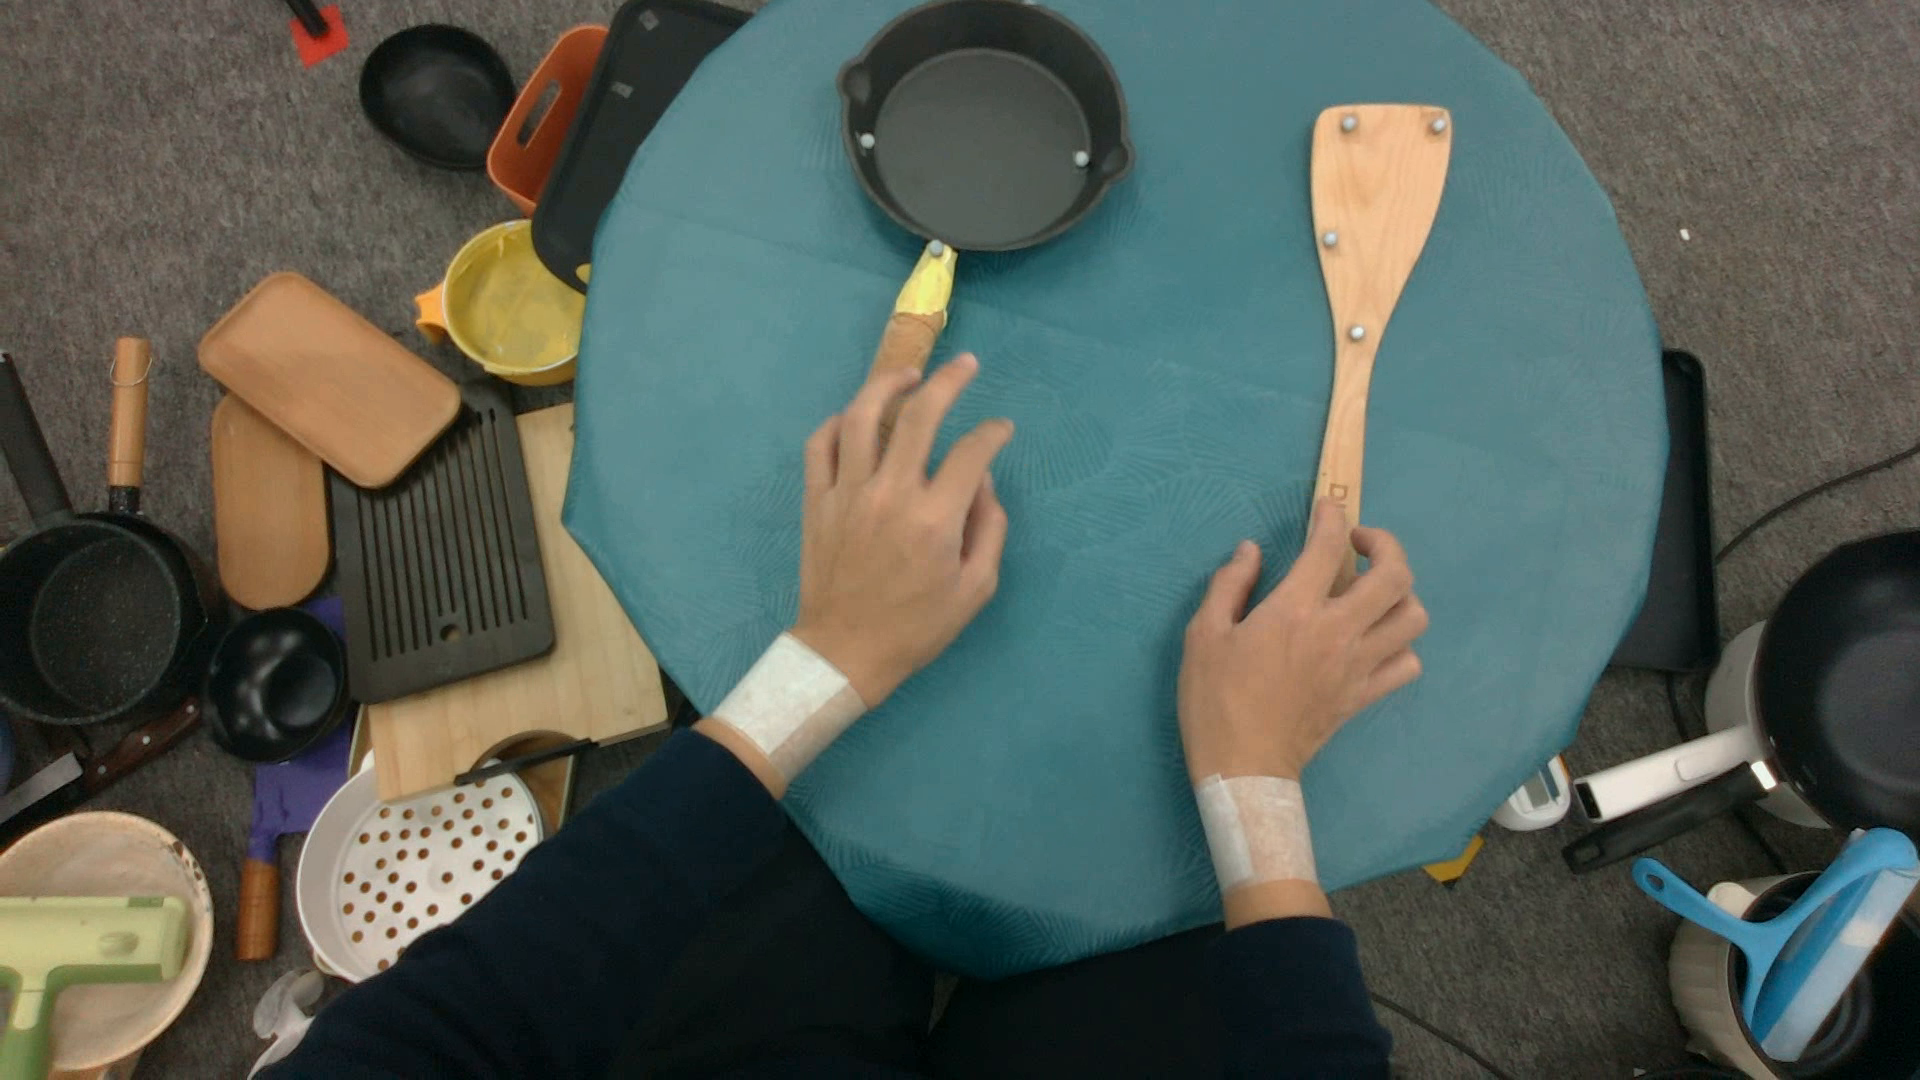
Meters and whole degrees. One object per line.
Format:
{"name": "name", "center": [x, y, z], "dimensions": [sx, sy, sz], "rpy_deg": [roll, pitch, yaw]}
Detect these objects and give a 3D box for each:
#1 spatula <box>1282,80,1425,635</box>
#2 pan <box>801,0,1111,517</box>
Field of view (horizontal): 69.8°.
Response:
{"name": "spatula", "center": [0.205, -0.109, 0.756], "dimensions": [0.080, 0.016, 0.328], "rpy_deg": [9, 76, 0]}
{"name": "pan", "center": [-0.025, -0.160, 0.739], "dimensions": [0.169, 0.049, 0.325], "rpy_deg": [18, 74, 2]}
